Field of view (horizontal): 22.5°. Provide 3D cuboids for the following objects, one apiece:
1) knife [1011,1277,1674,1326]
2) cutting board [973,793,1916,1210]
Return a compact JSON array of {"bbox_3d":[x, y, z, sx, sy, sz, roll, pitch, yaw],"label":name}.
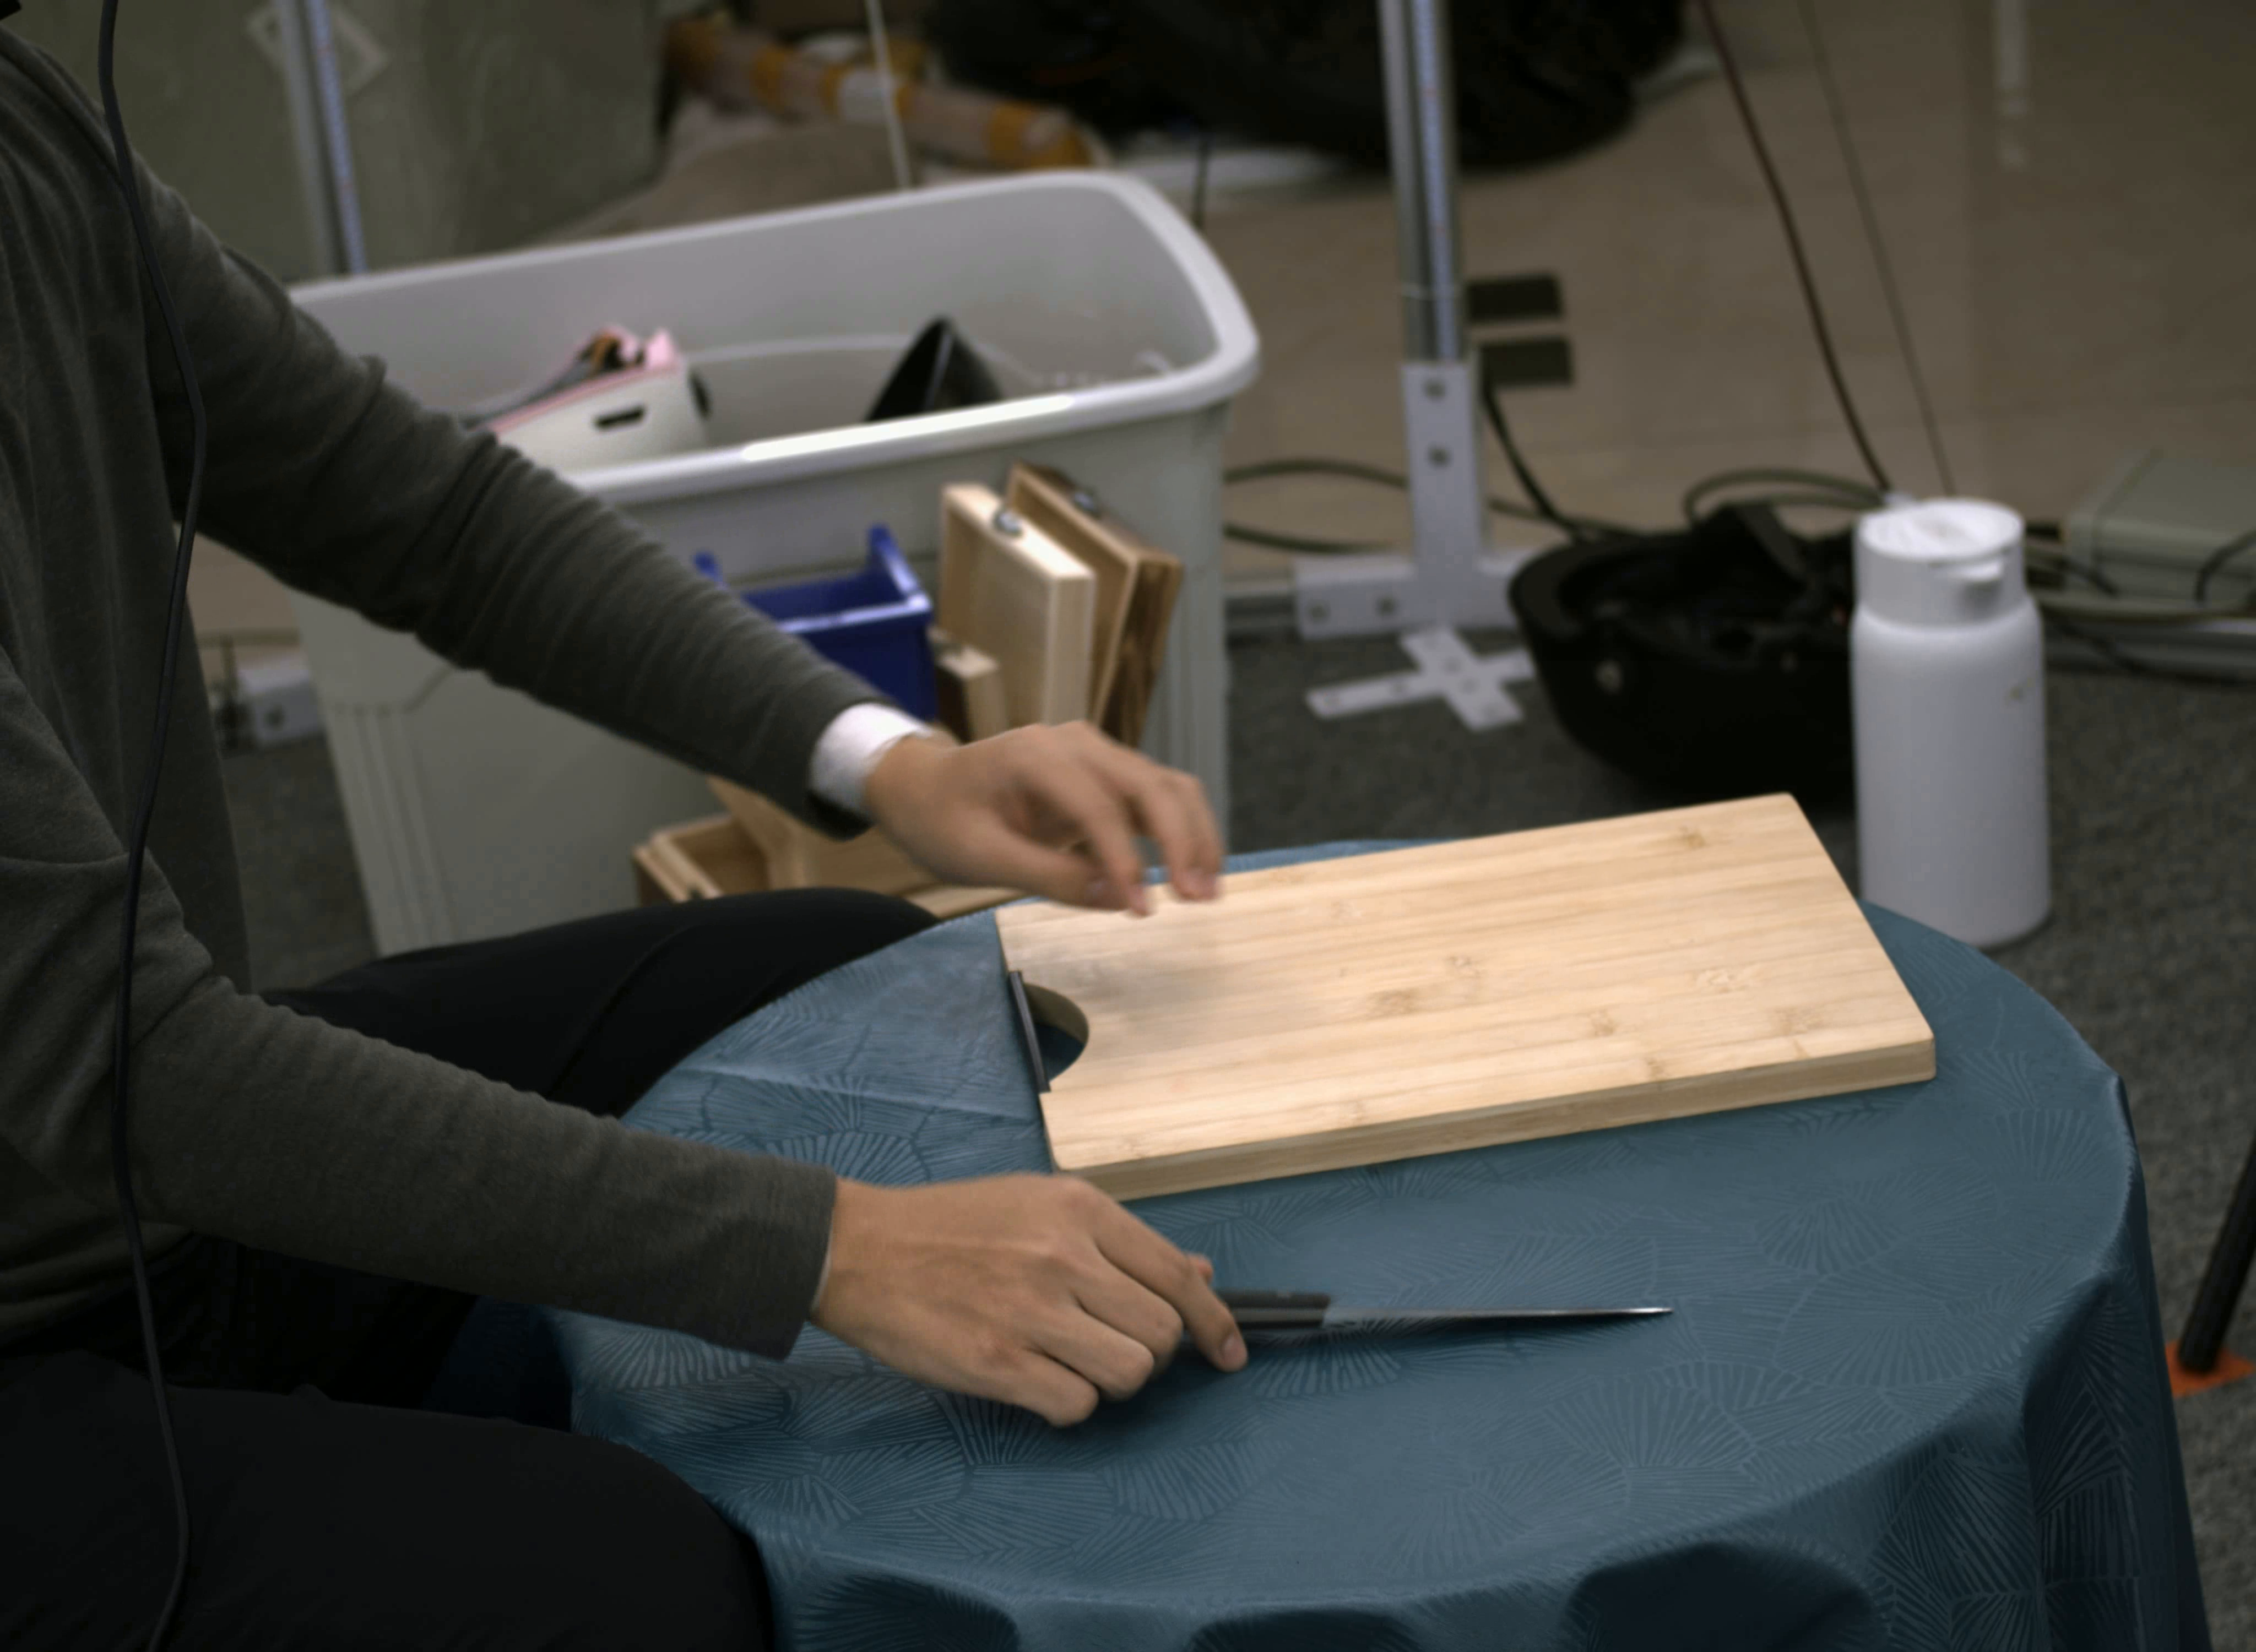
[{"bbox_3d":[0.077,0.171,2.032,0.238,0.016,0.024,1,5,1],"label":"knife"},{"bbox_3d":[0.121,0.067,2.259,0.348,0.024,0.247,-9,24,-5],"label":"cutting board"}]
